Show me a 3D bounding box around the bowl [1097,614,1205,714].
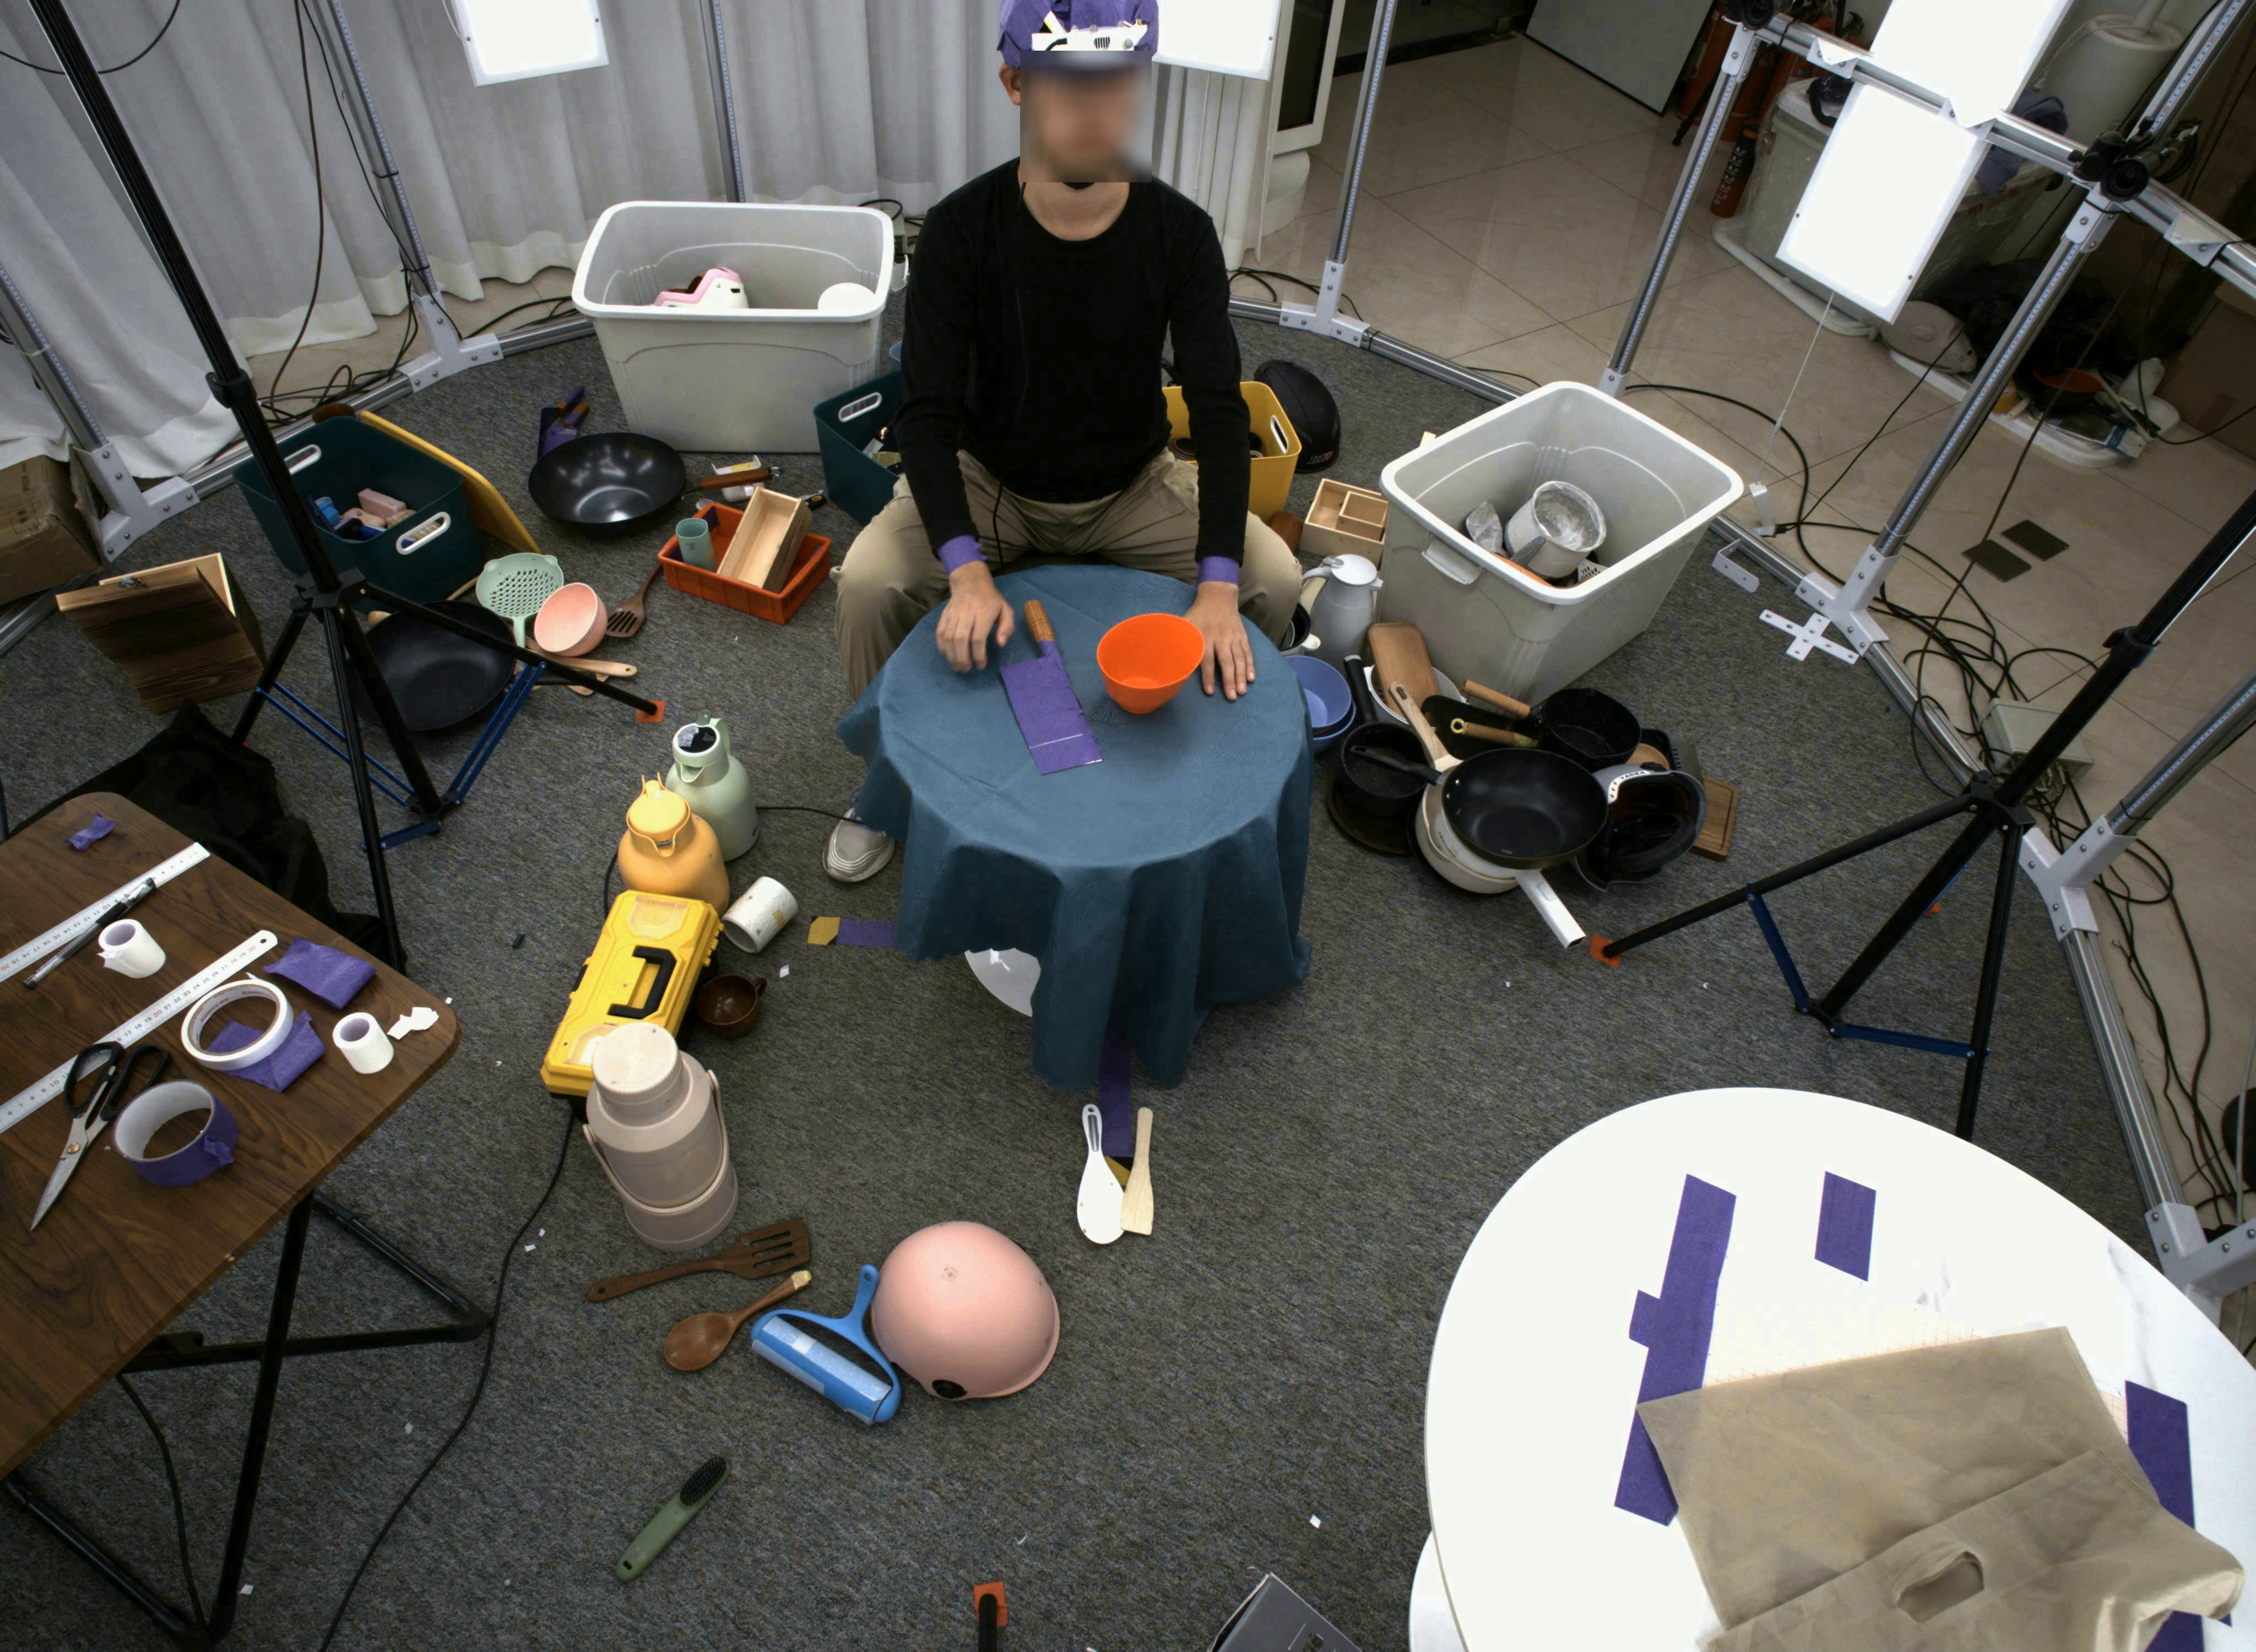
[{"bbox_3d":[0.029,-0.215,1.792,0.148,0.102,0.152,1,51,-2],"label":"bowl"}]

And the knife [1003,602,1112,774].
[{"bbox_3d":[-0.121,-0.200,1.818,0.104,0.031,0.323,-13,52,-15],"label":"knife"}]
